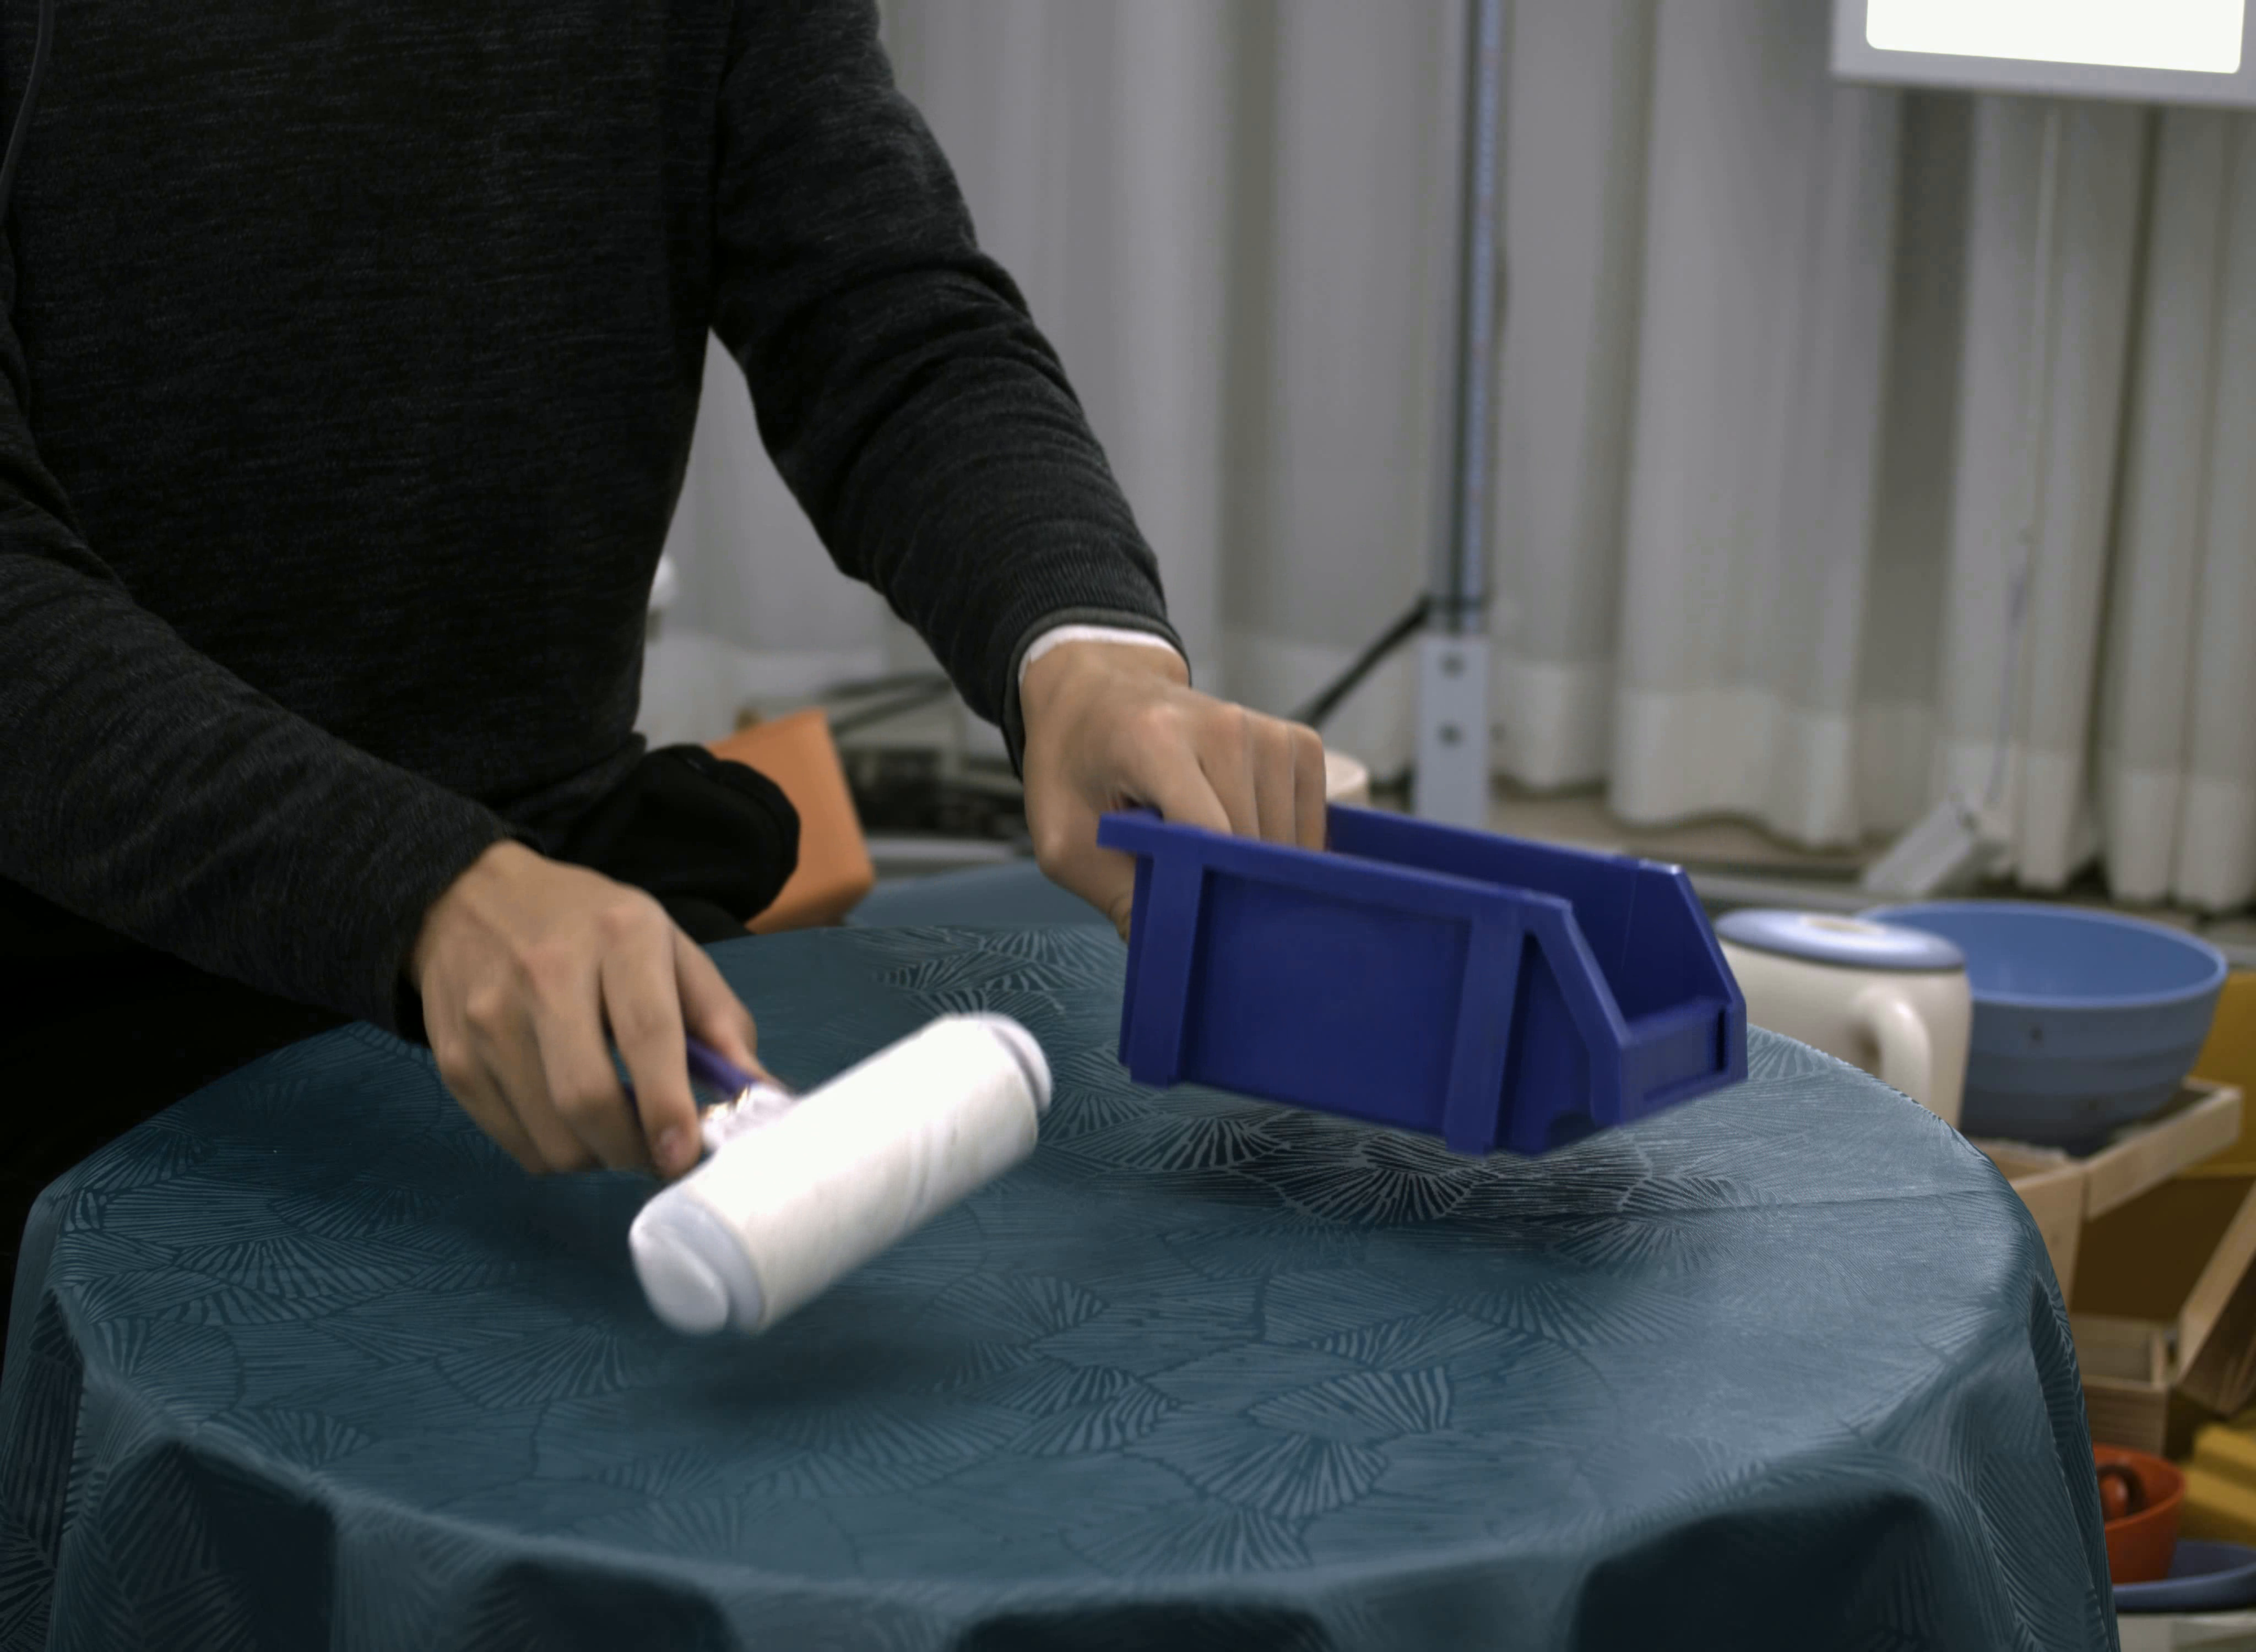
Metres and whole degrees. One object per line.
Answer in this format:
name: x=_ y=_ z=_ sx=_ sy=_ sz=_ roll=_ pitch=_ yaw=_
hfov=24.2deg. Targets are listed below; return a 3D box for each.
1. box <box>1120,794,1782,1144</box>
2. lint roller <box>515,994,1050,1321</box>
box: x=0.101 y=0.044 z=1.618 sx=0.177 sy=0.082 sz=0.125 roll=8 pitch=7 yaw=24
lint roller: x=-0.119 y=0.070 z=1.505 sx=0.133 sy=0.051 sz=0.178 roll=-32 pitch=41 yaw=-28
